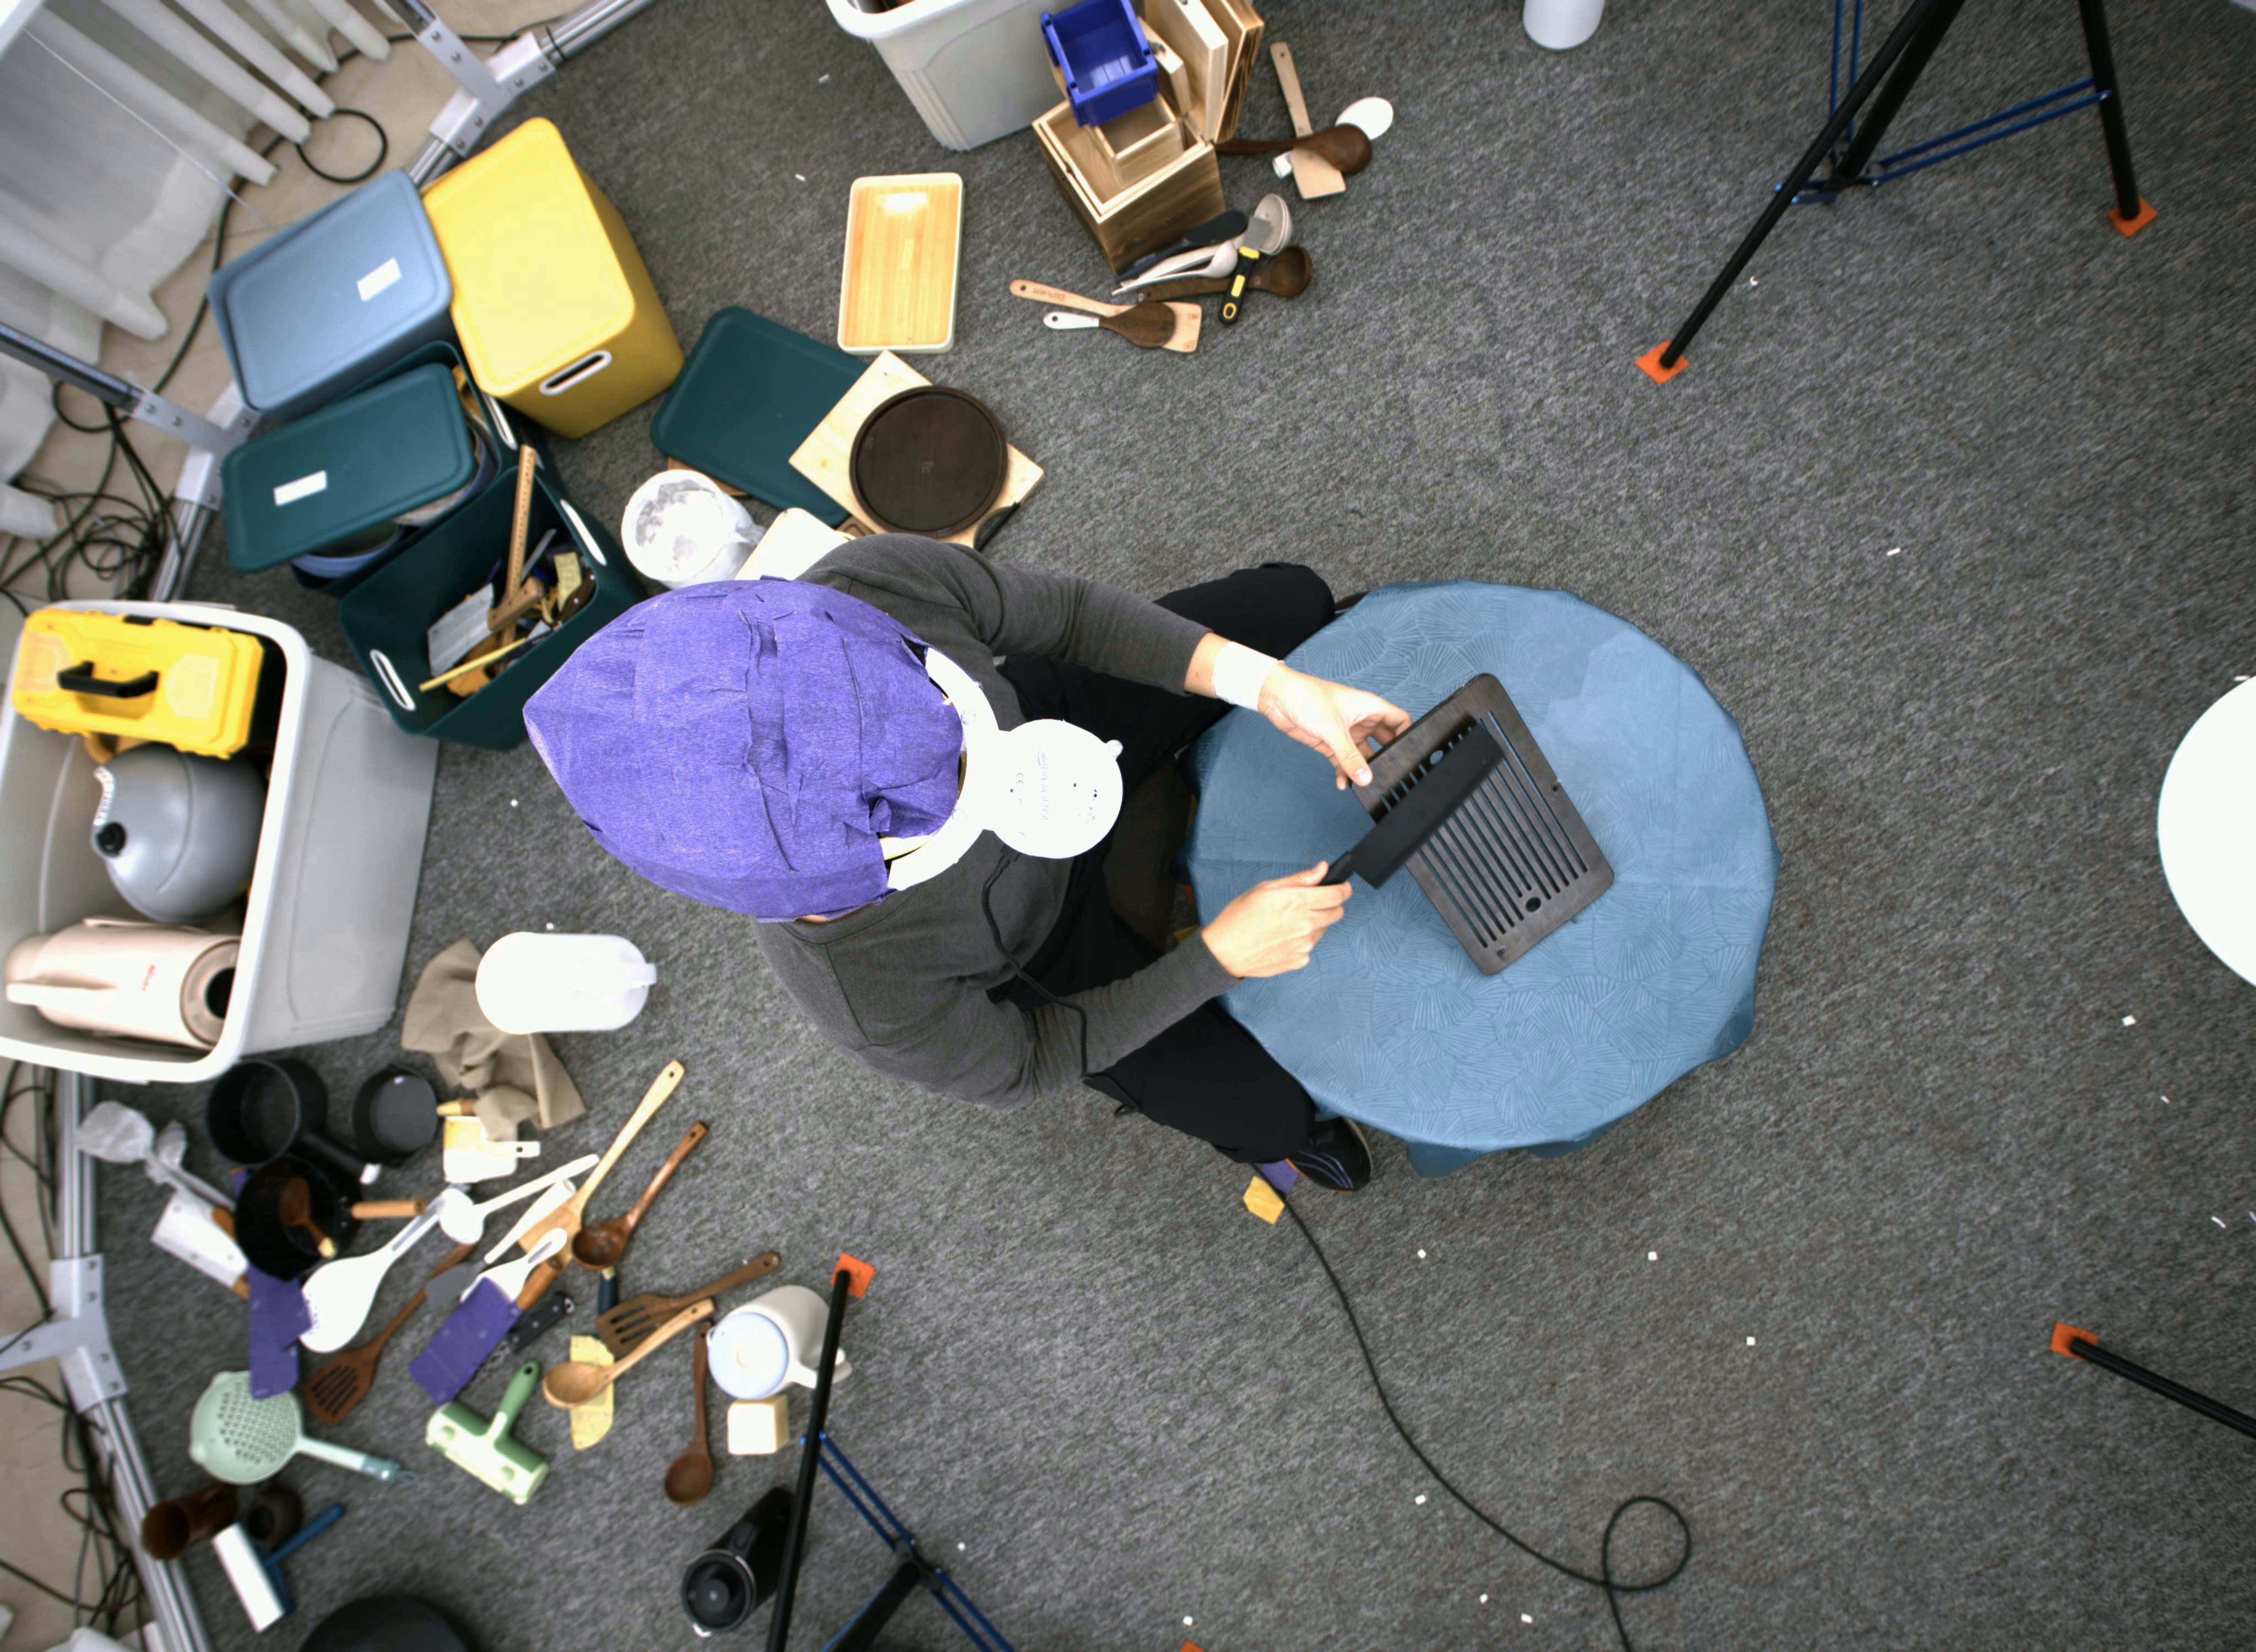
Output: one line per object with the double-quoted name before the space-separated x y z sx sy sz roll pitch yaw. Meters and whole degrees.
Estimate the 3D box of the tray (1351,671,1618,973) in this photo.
"tray" 0.354 0.000 1.347 0.171 0.018 0.310 -37 120 7

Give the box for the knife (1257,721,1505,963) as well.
"knife" 0.236 0.020 1.307 0.304 0.082 0.020 -43 39 9
